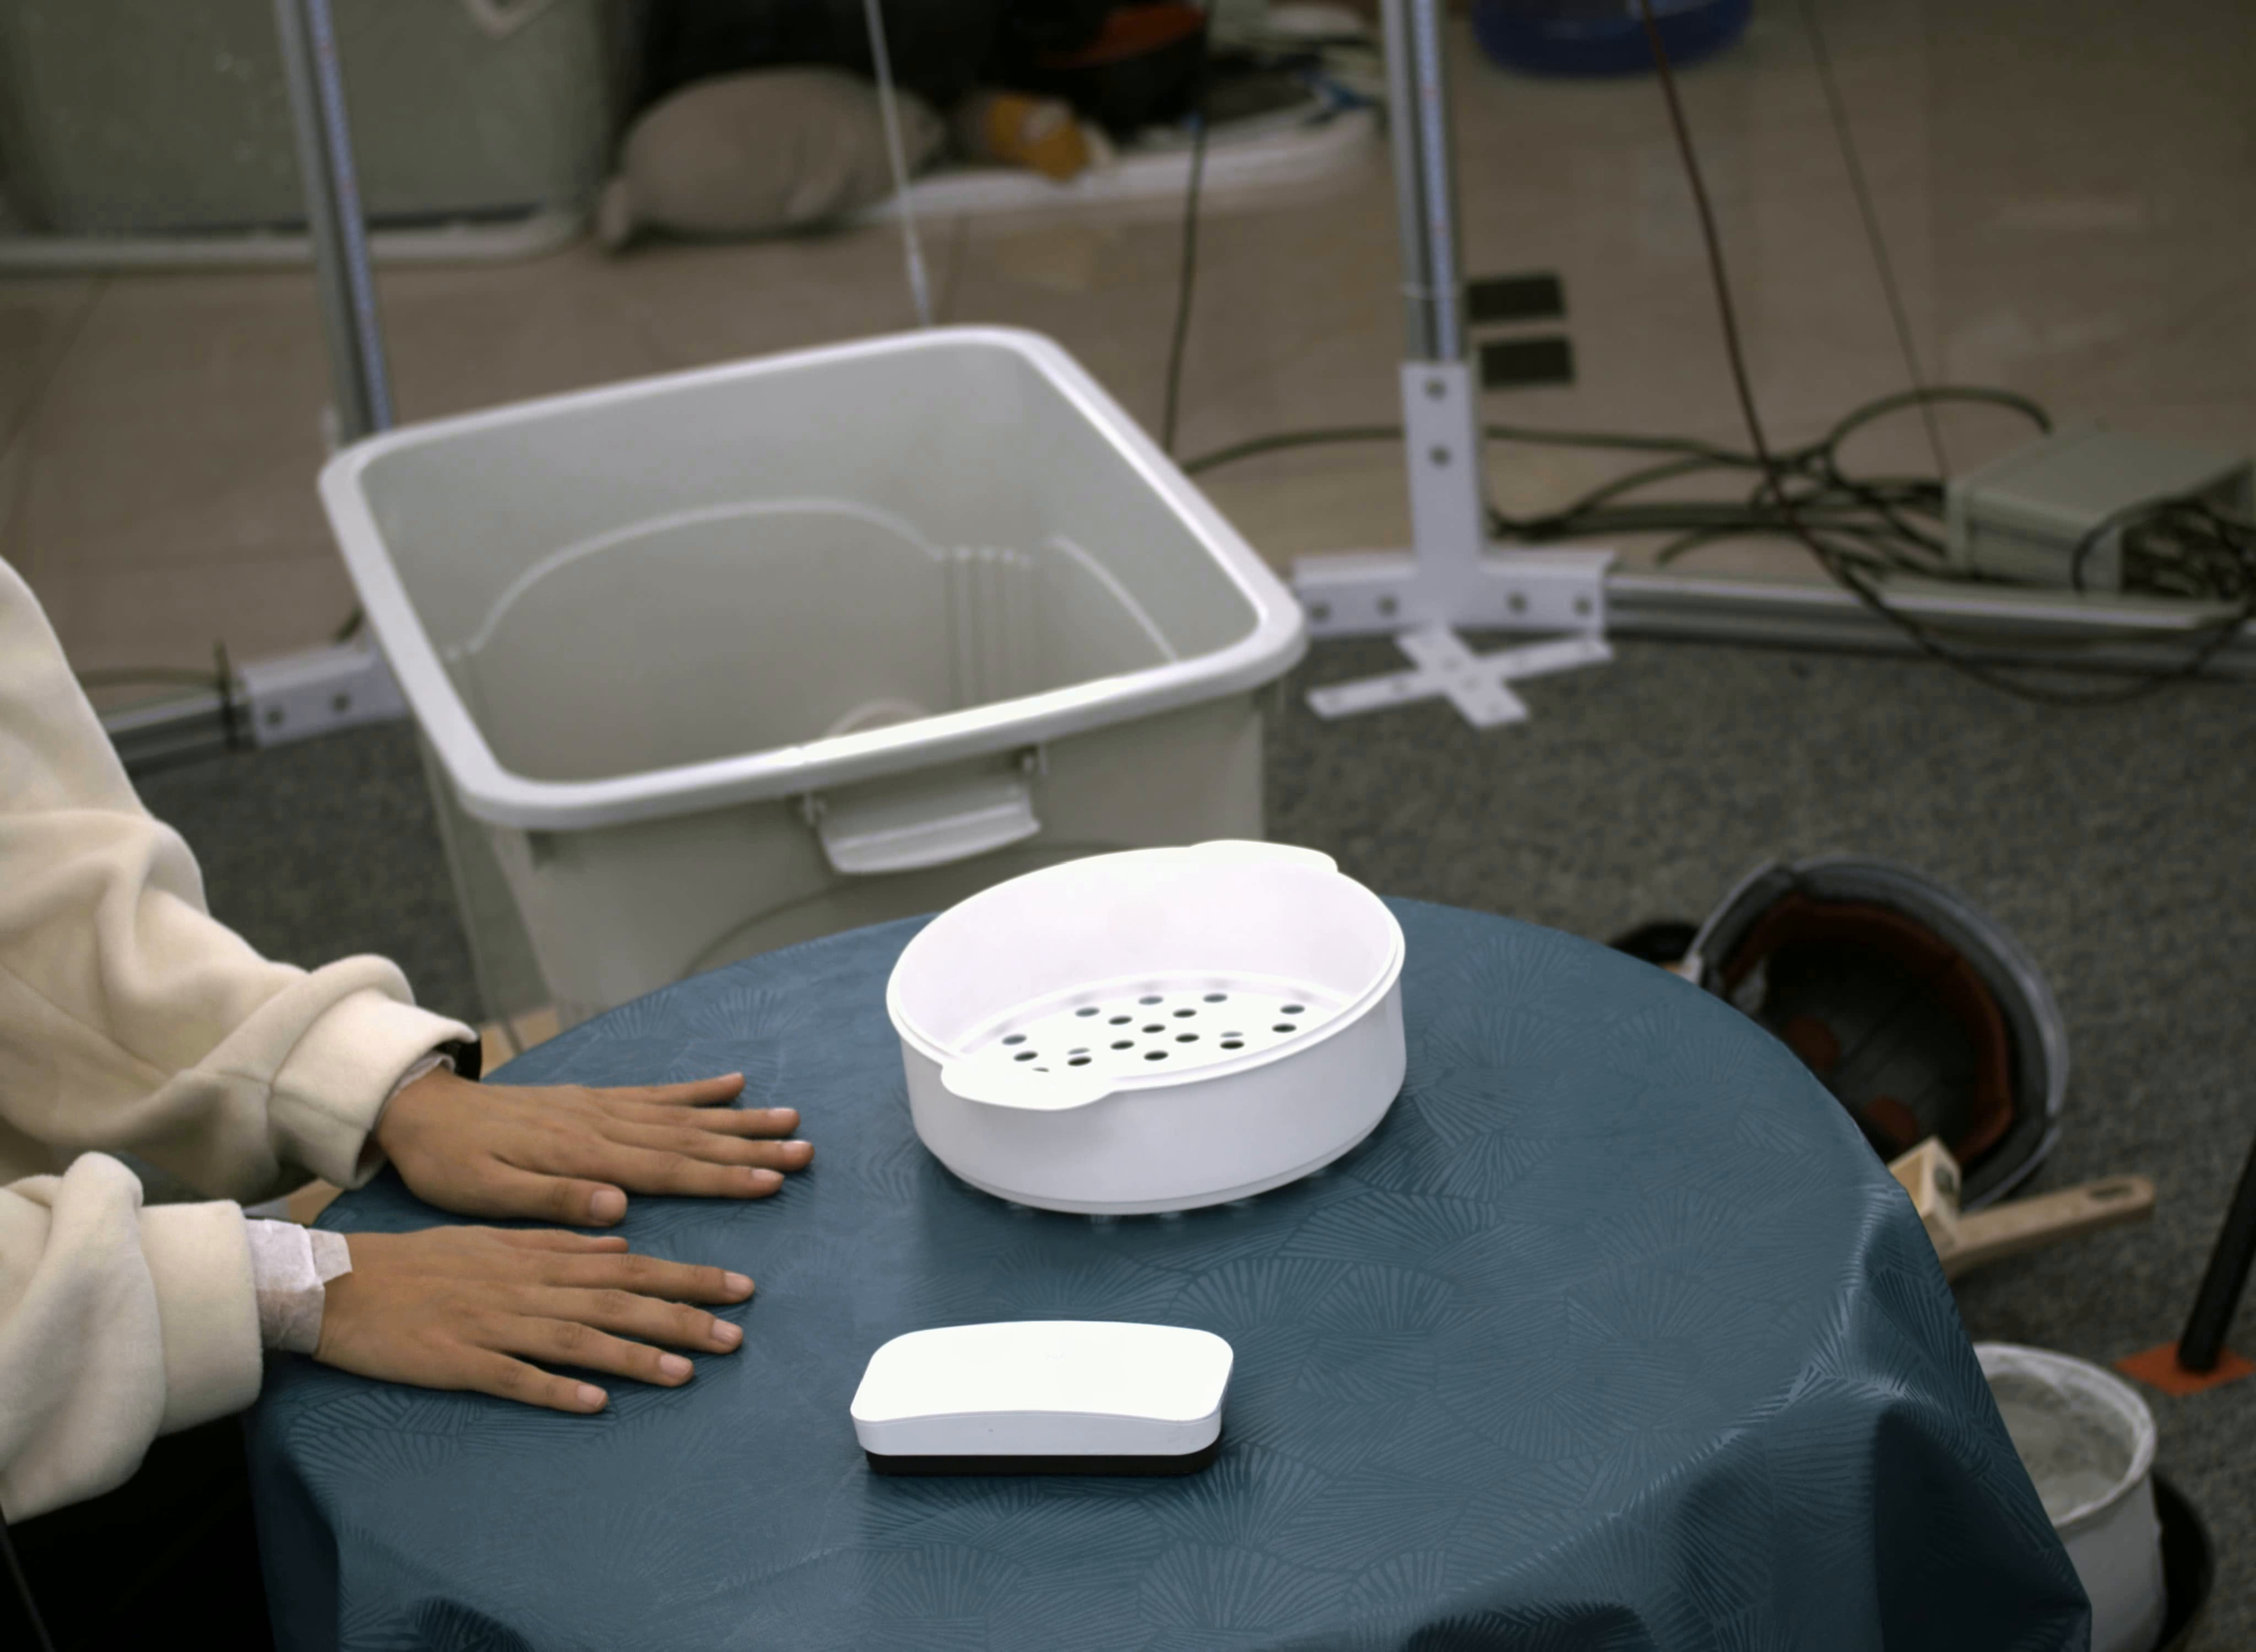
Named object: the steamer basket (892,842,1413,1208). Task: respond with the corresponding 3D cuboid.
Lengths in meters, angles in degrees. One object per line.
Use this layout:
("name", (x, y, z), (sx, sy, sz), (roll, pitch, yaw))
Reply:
("steamer basket", (0.012, 0.079, 2.194), (0.201, 0.070, 0.228), (7, 27, 28))

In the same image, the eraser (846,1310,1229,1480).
("eraser", (-0.031, 0.200, 1.988), (0.131, 0.035, 0.062), (0, 27, 13))
